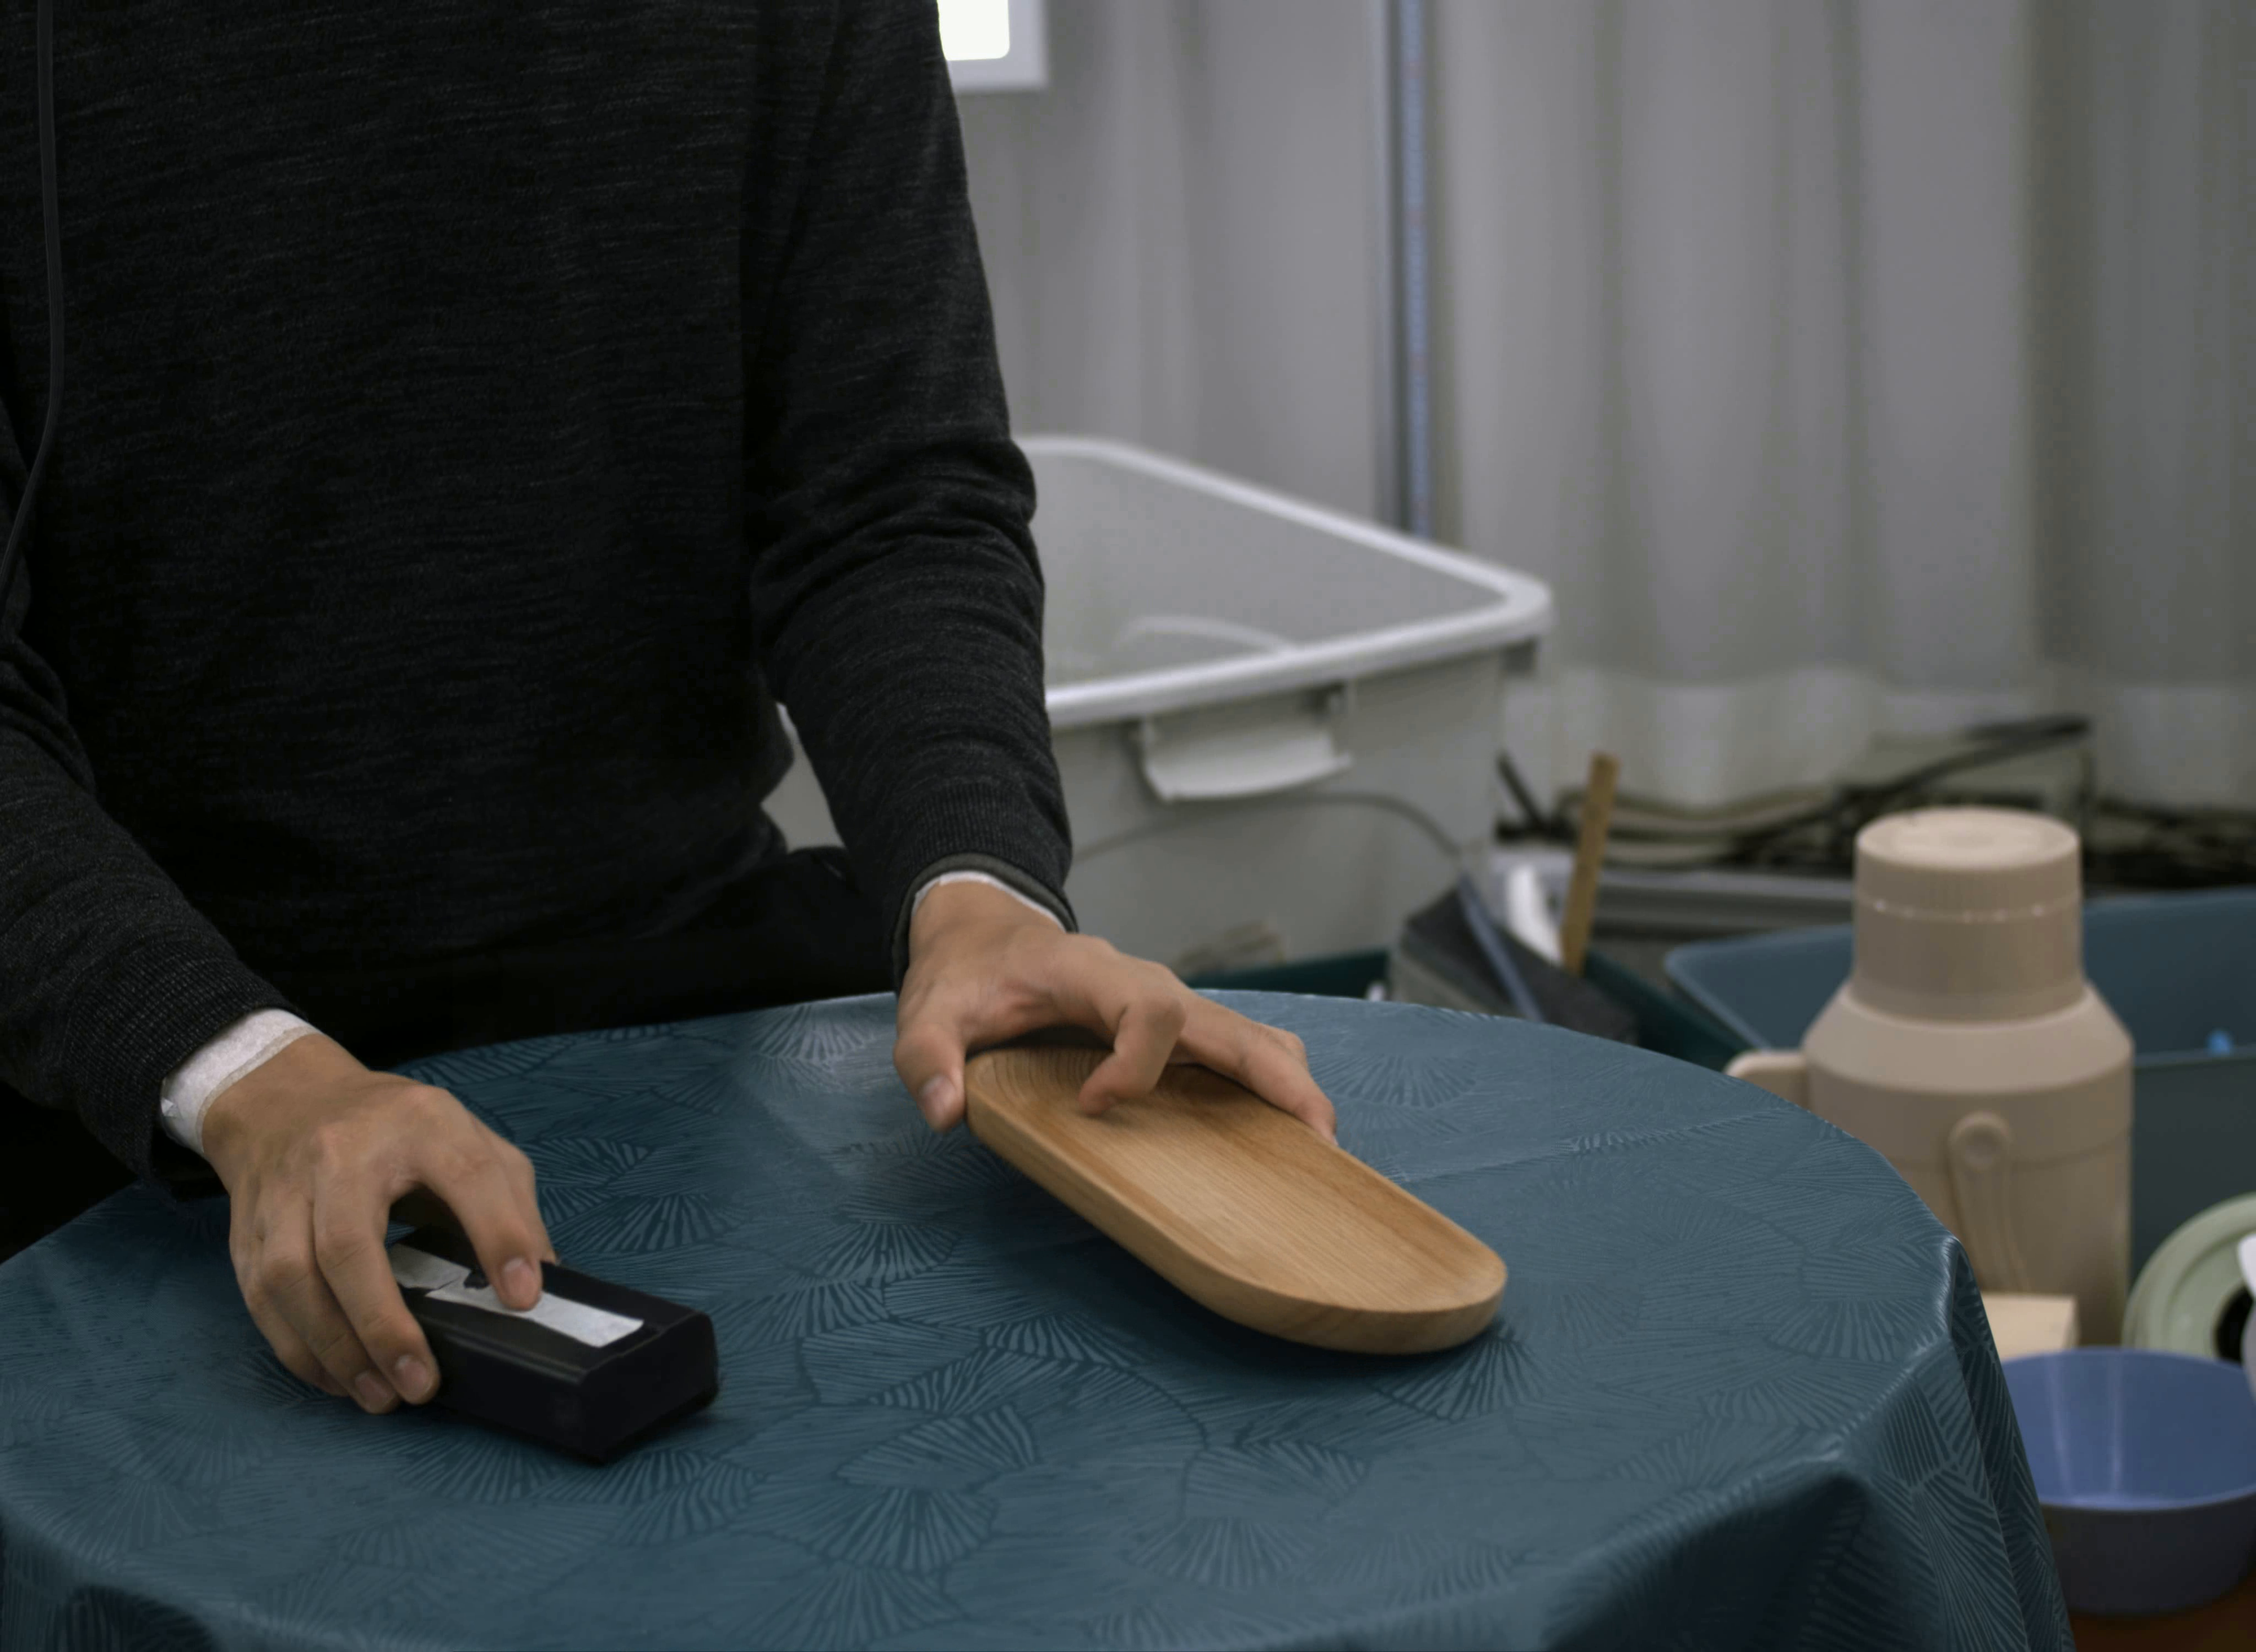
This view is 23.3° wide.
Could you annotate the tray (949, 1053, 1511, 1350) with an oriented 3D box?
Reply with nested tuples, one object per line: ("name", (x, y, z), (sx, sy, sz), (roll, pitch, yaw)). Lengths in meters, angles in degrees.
("tray", (0.027, 0.110, 1.641), (0.101, 0.020, 0.233), (0, 15, -31))

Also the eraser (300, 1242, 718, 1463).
("eraser", (-0.176, 0.149, 1.558), (0.126, 0.030, 0.053), (11, 22, 42))
